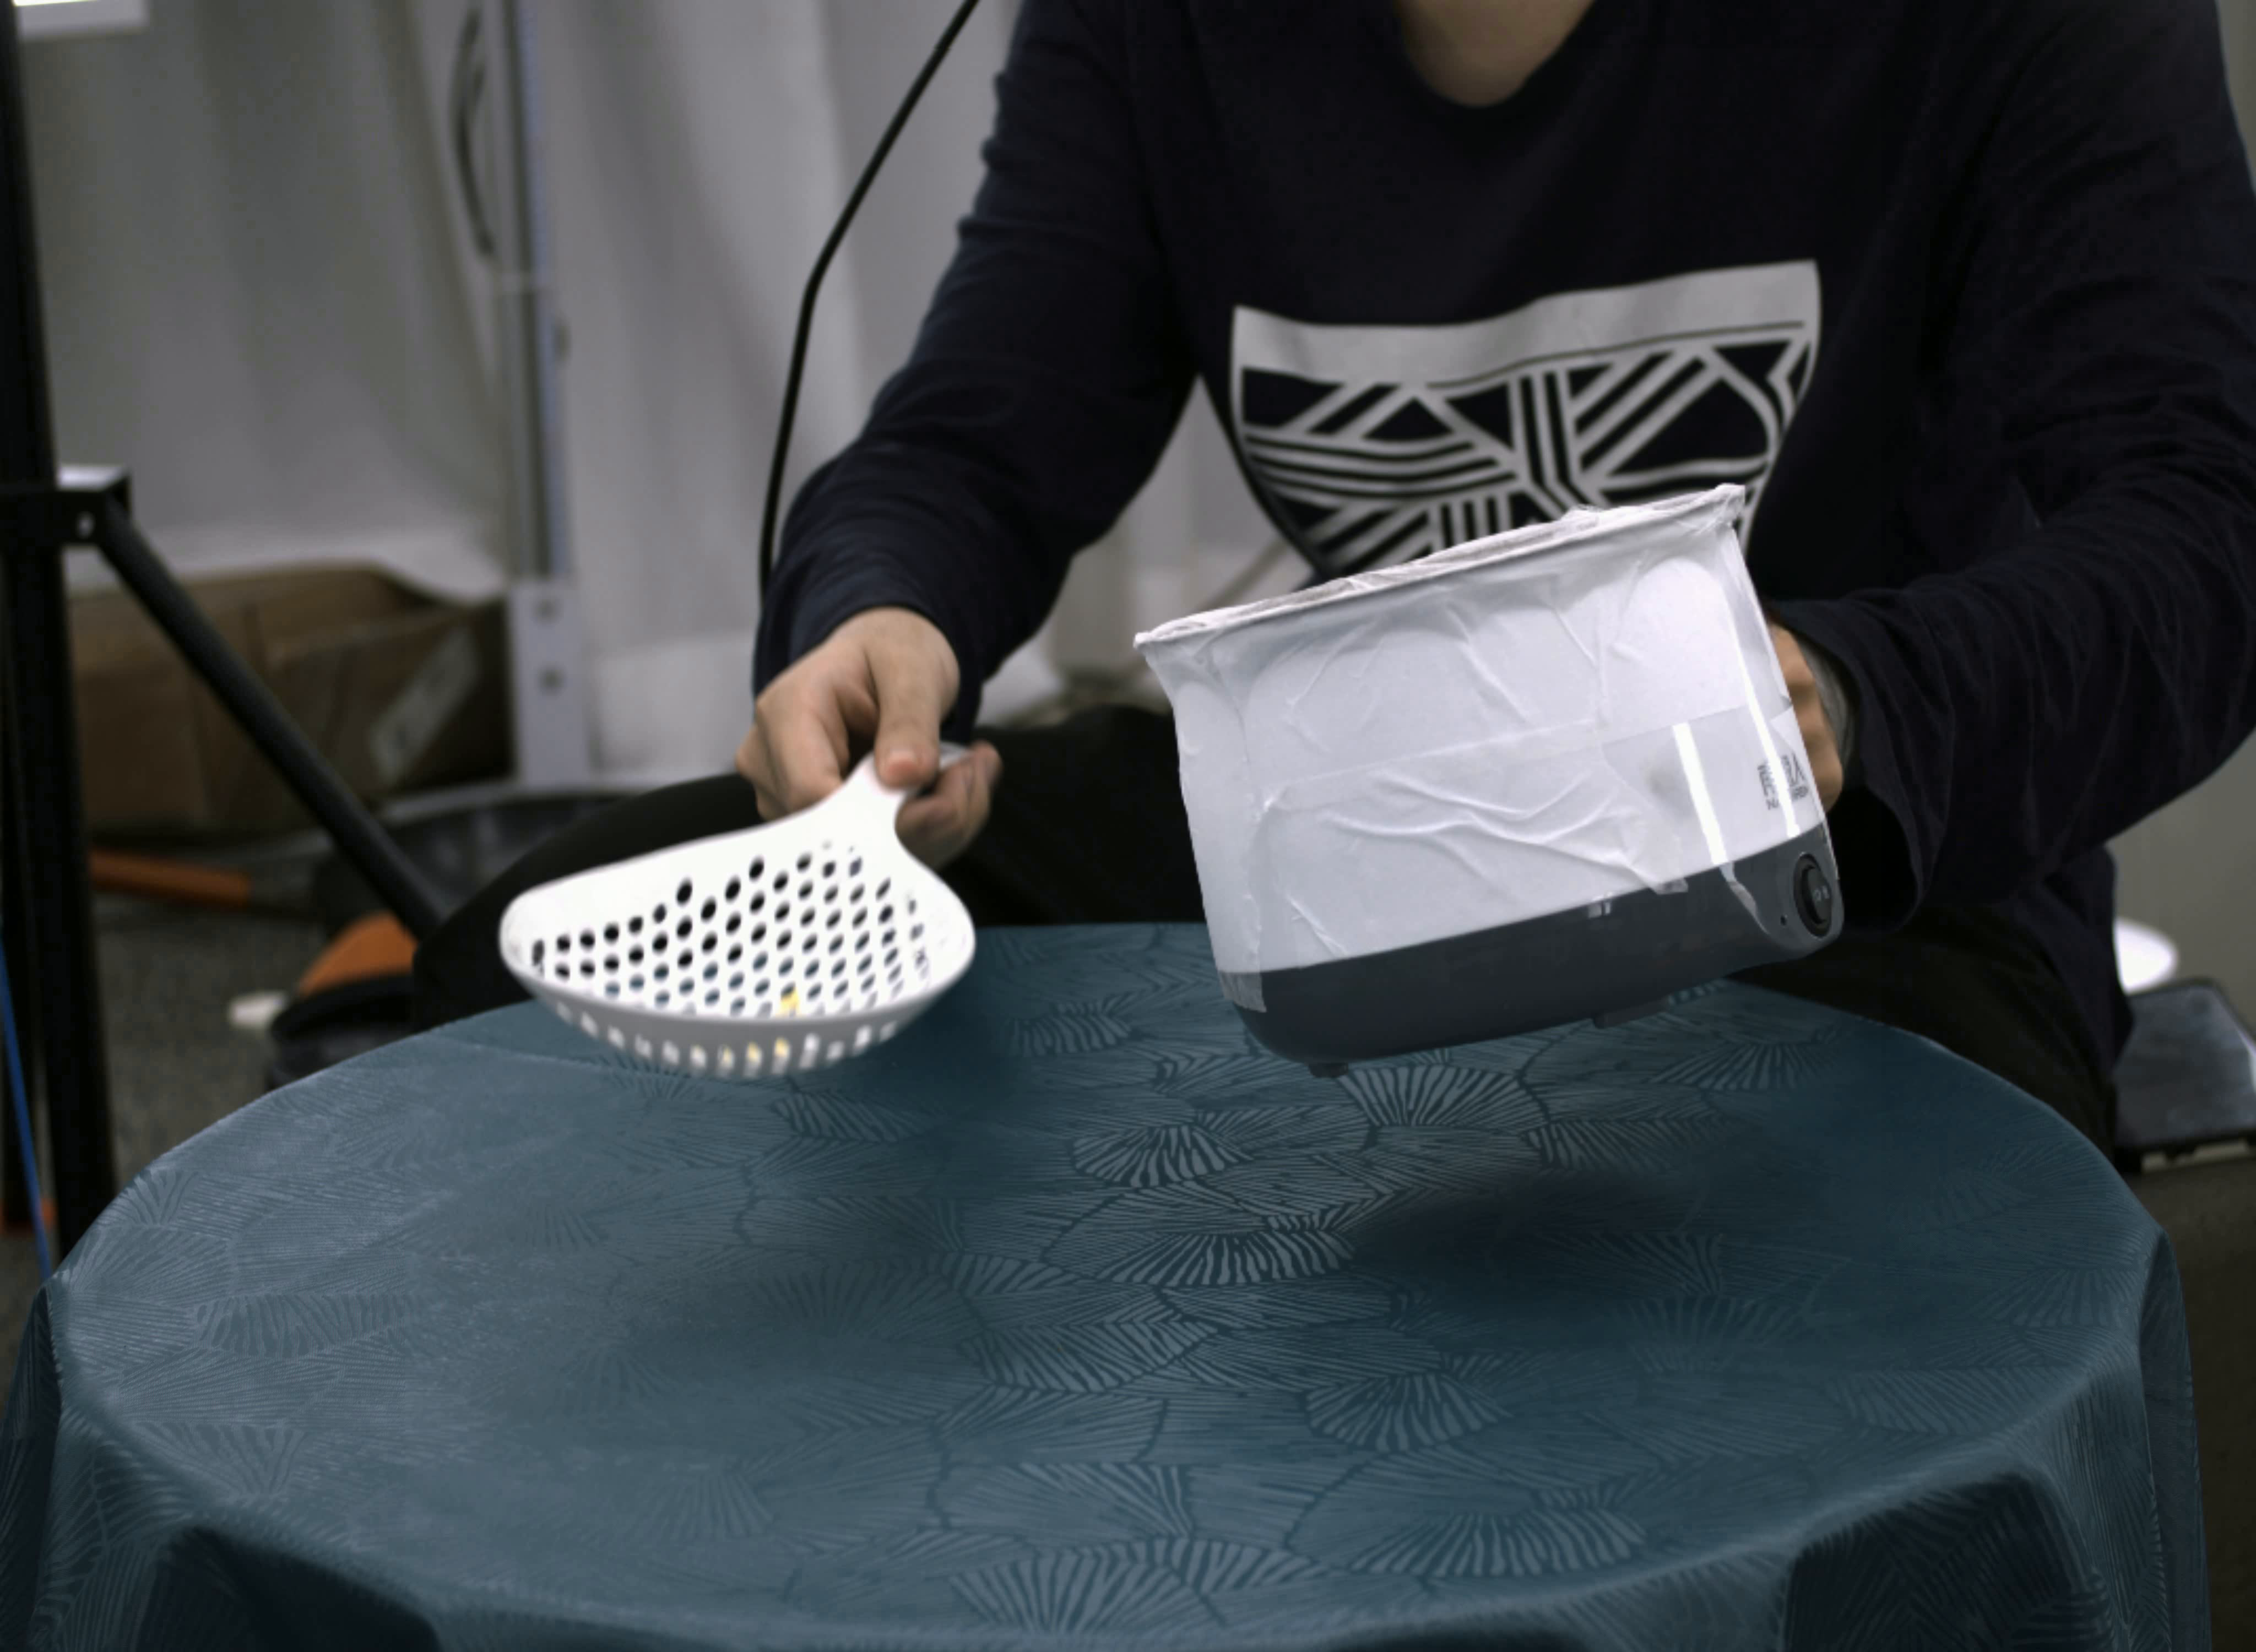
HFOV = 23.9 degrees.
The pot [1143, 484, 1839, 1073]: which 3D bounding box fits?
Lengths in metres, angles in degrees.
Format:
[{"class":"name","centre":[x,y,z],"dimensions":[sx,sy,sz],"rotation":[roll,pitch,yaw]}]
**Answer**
[{"class":"pot","centre":[0.115,-0.018,1.517],"dimensions":[0.181,0.137,0.229],"rotation":[-9,5,29]}]

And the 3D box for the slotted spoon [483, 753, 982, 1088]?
[{"class":"slotted spoon","centre":[-0.089,0.014,1.584],"dimensions":[0.137,0.050,0.346],"rotation":[6,20,10]}]
